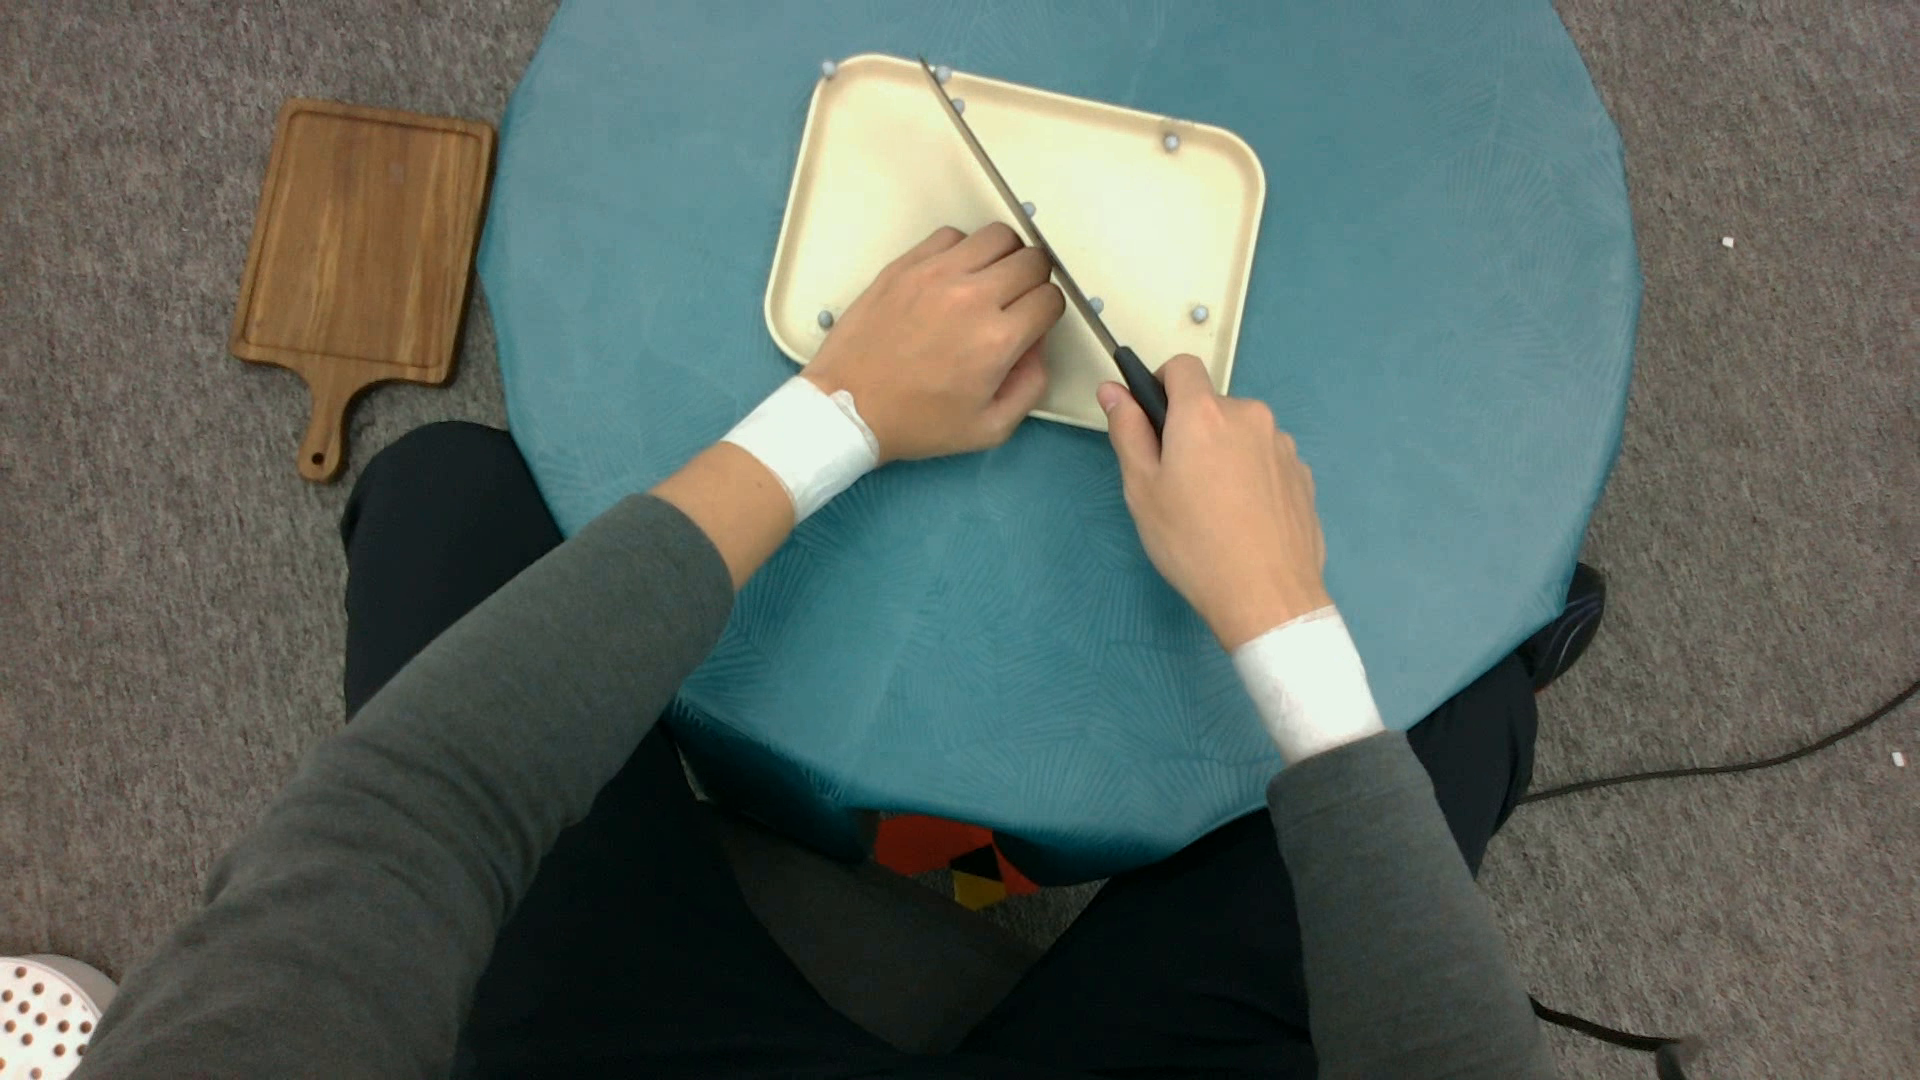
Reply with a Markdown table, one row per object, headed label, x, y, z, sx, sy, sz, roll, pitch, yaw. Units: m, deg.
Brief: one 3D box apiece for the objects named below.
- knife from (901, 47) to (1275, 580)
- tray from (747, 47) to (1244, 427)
| label | x | y | z | sx | sy | sz | roll | pitch | yaw |
| --- | --- | --- | --- | --- | --- | --- | --- | --- | --- |
| knife | 0.057 | -0.109 | 0.660 | 0.021 | 0.081 | 0.302 | -34 | 80 | 5 |
| tray | 0.020 | -0.156 | 0.710 | 0.240 | 0.017 | 0.171 | 12 | 81 | -1 |
